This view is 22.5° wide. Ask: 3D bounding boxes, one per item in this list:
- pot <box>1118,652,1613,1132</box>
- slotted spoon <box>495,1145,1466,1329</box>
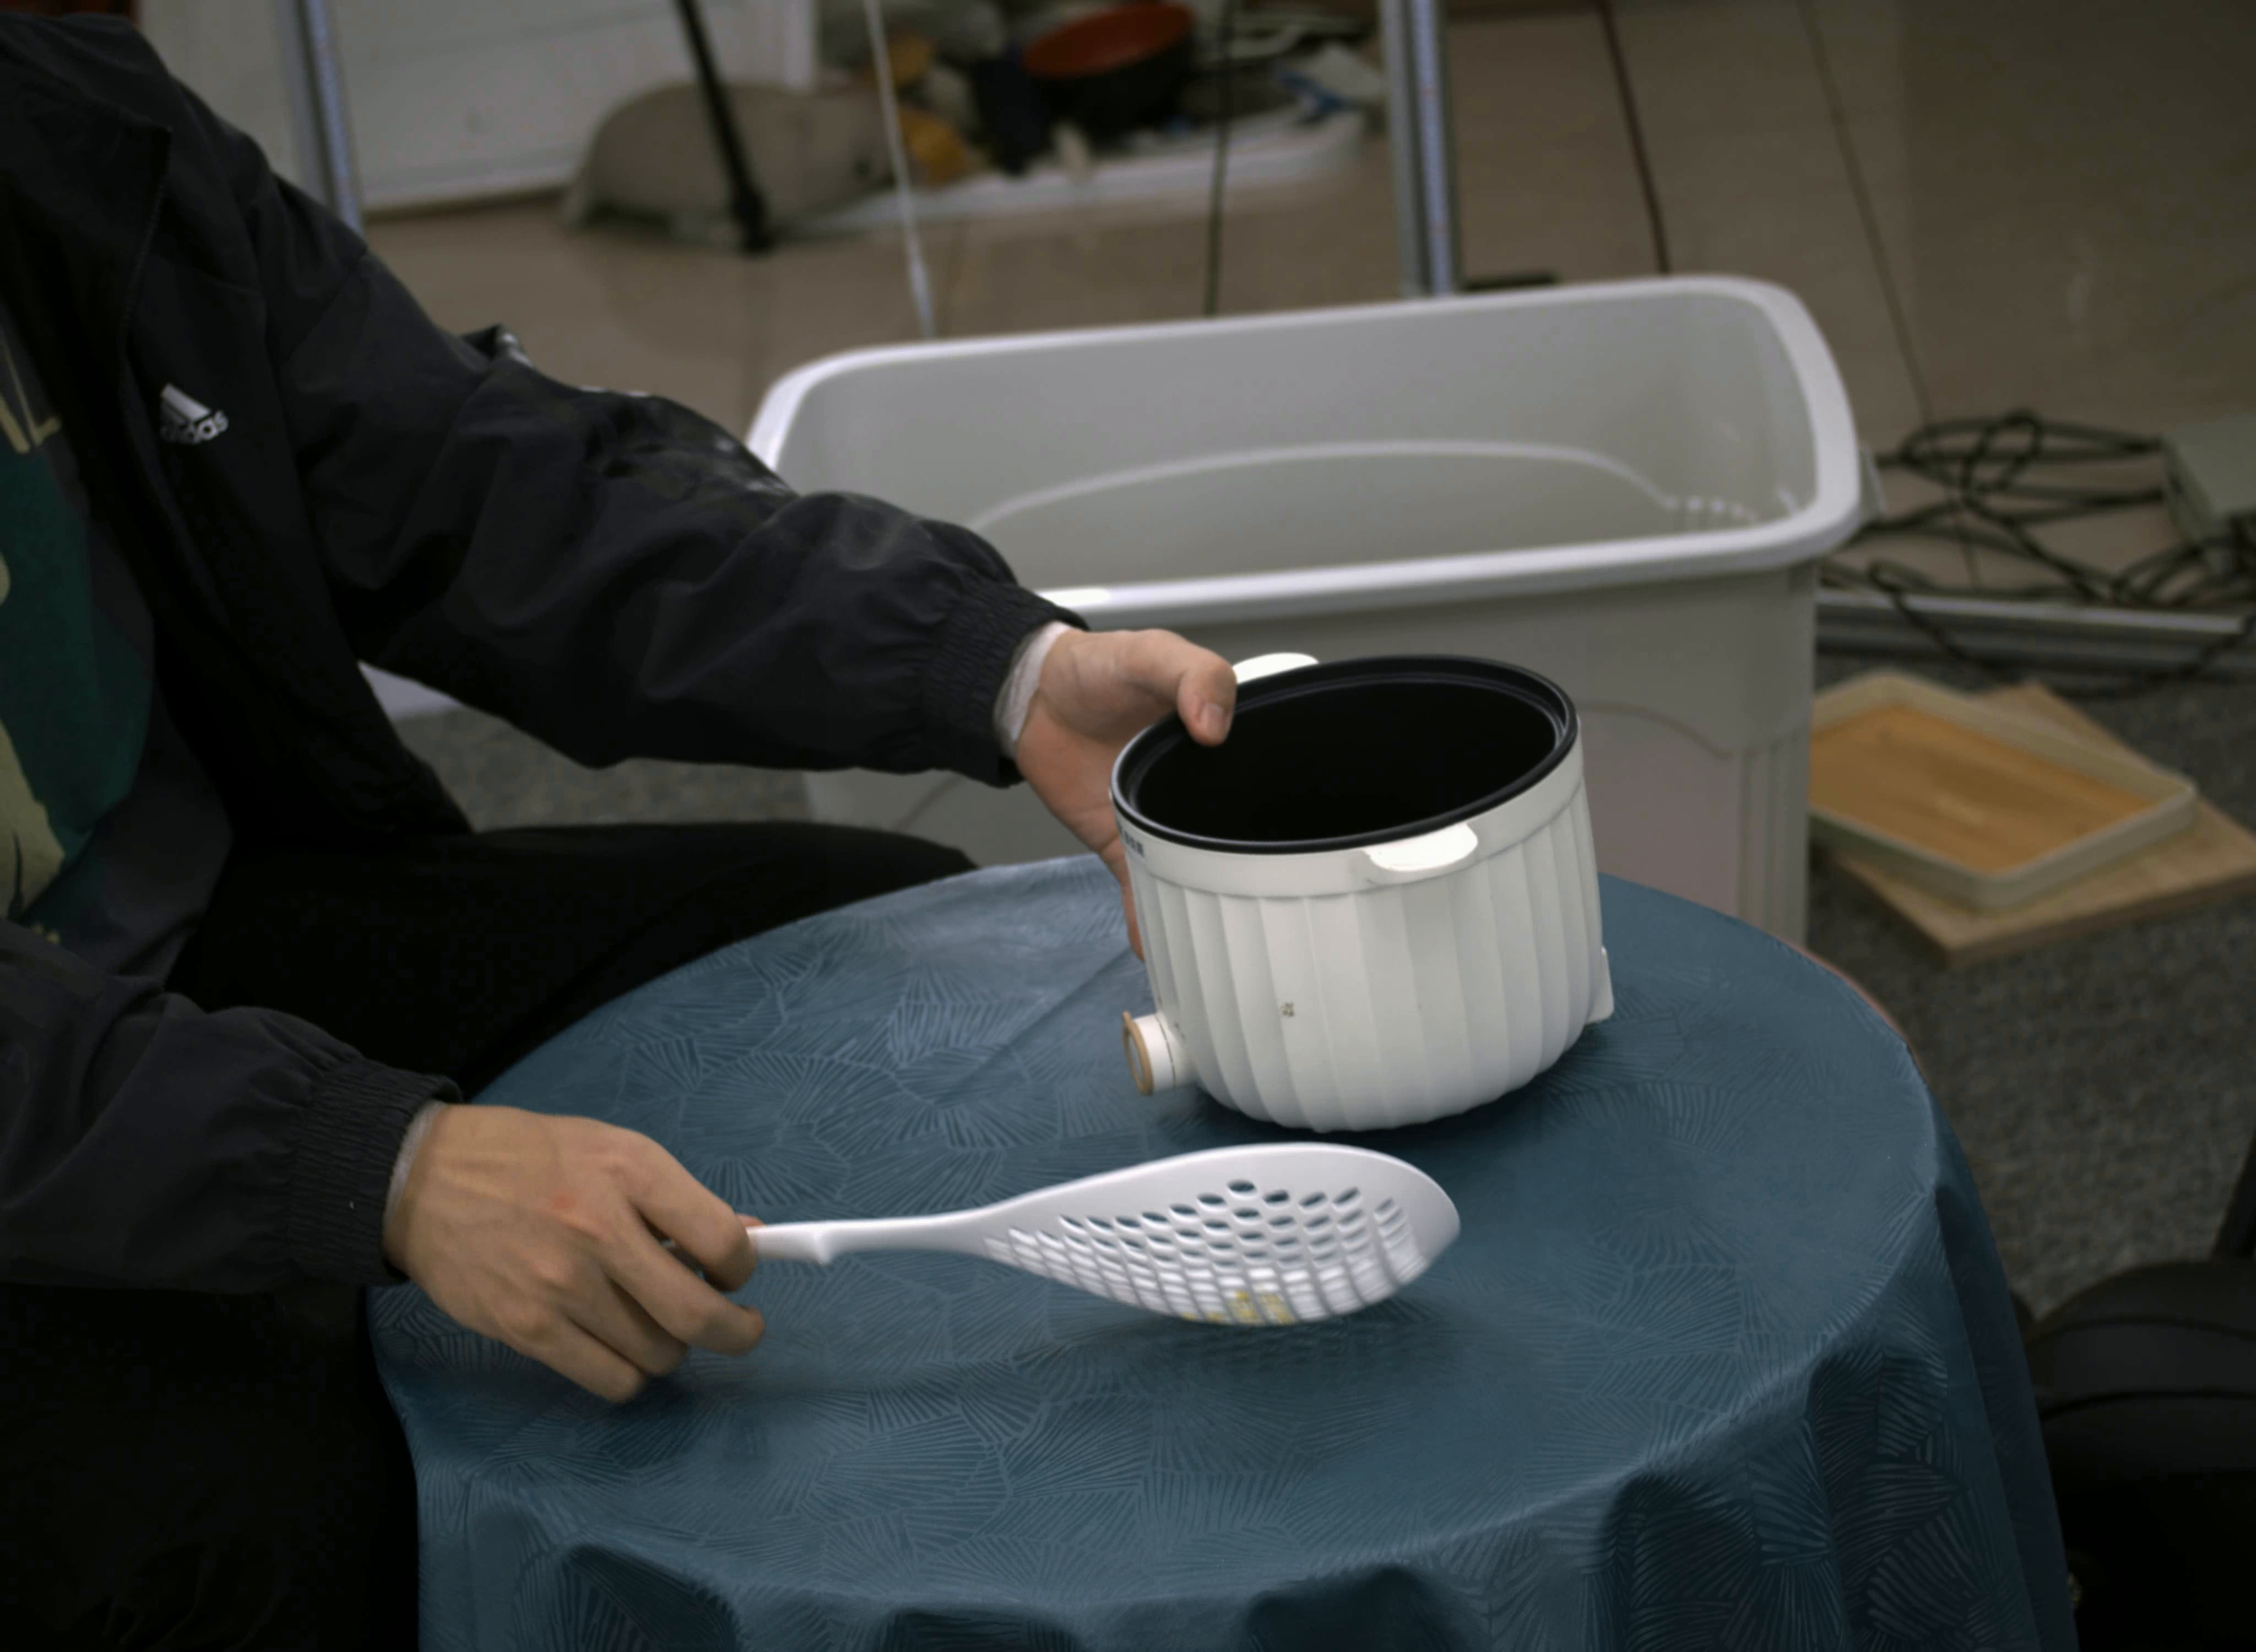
[{"bbox_3d":[0.089,0.031,2.182,0.190,0.145,0.237,-11,22,-12],"label":"pot"},{"bbox_3d":[-0.053,0.156,2.018,0.347,0.138,0.050,-1,70,11],"label":"slotted spoon"}]
